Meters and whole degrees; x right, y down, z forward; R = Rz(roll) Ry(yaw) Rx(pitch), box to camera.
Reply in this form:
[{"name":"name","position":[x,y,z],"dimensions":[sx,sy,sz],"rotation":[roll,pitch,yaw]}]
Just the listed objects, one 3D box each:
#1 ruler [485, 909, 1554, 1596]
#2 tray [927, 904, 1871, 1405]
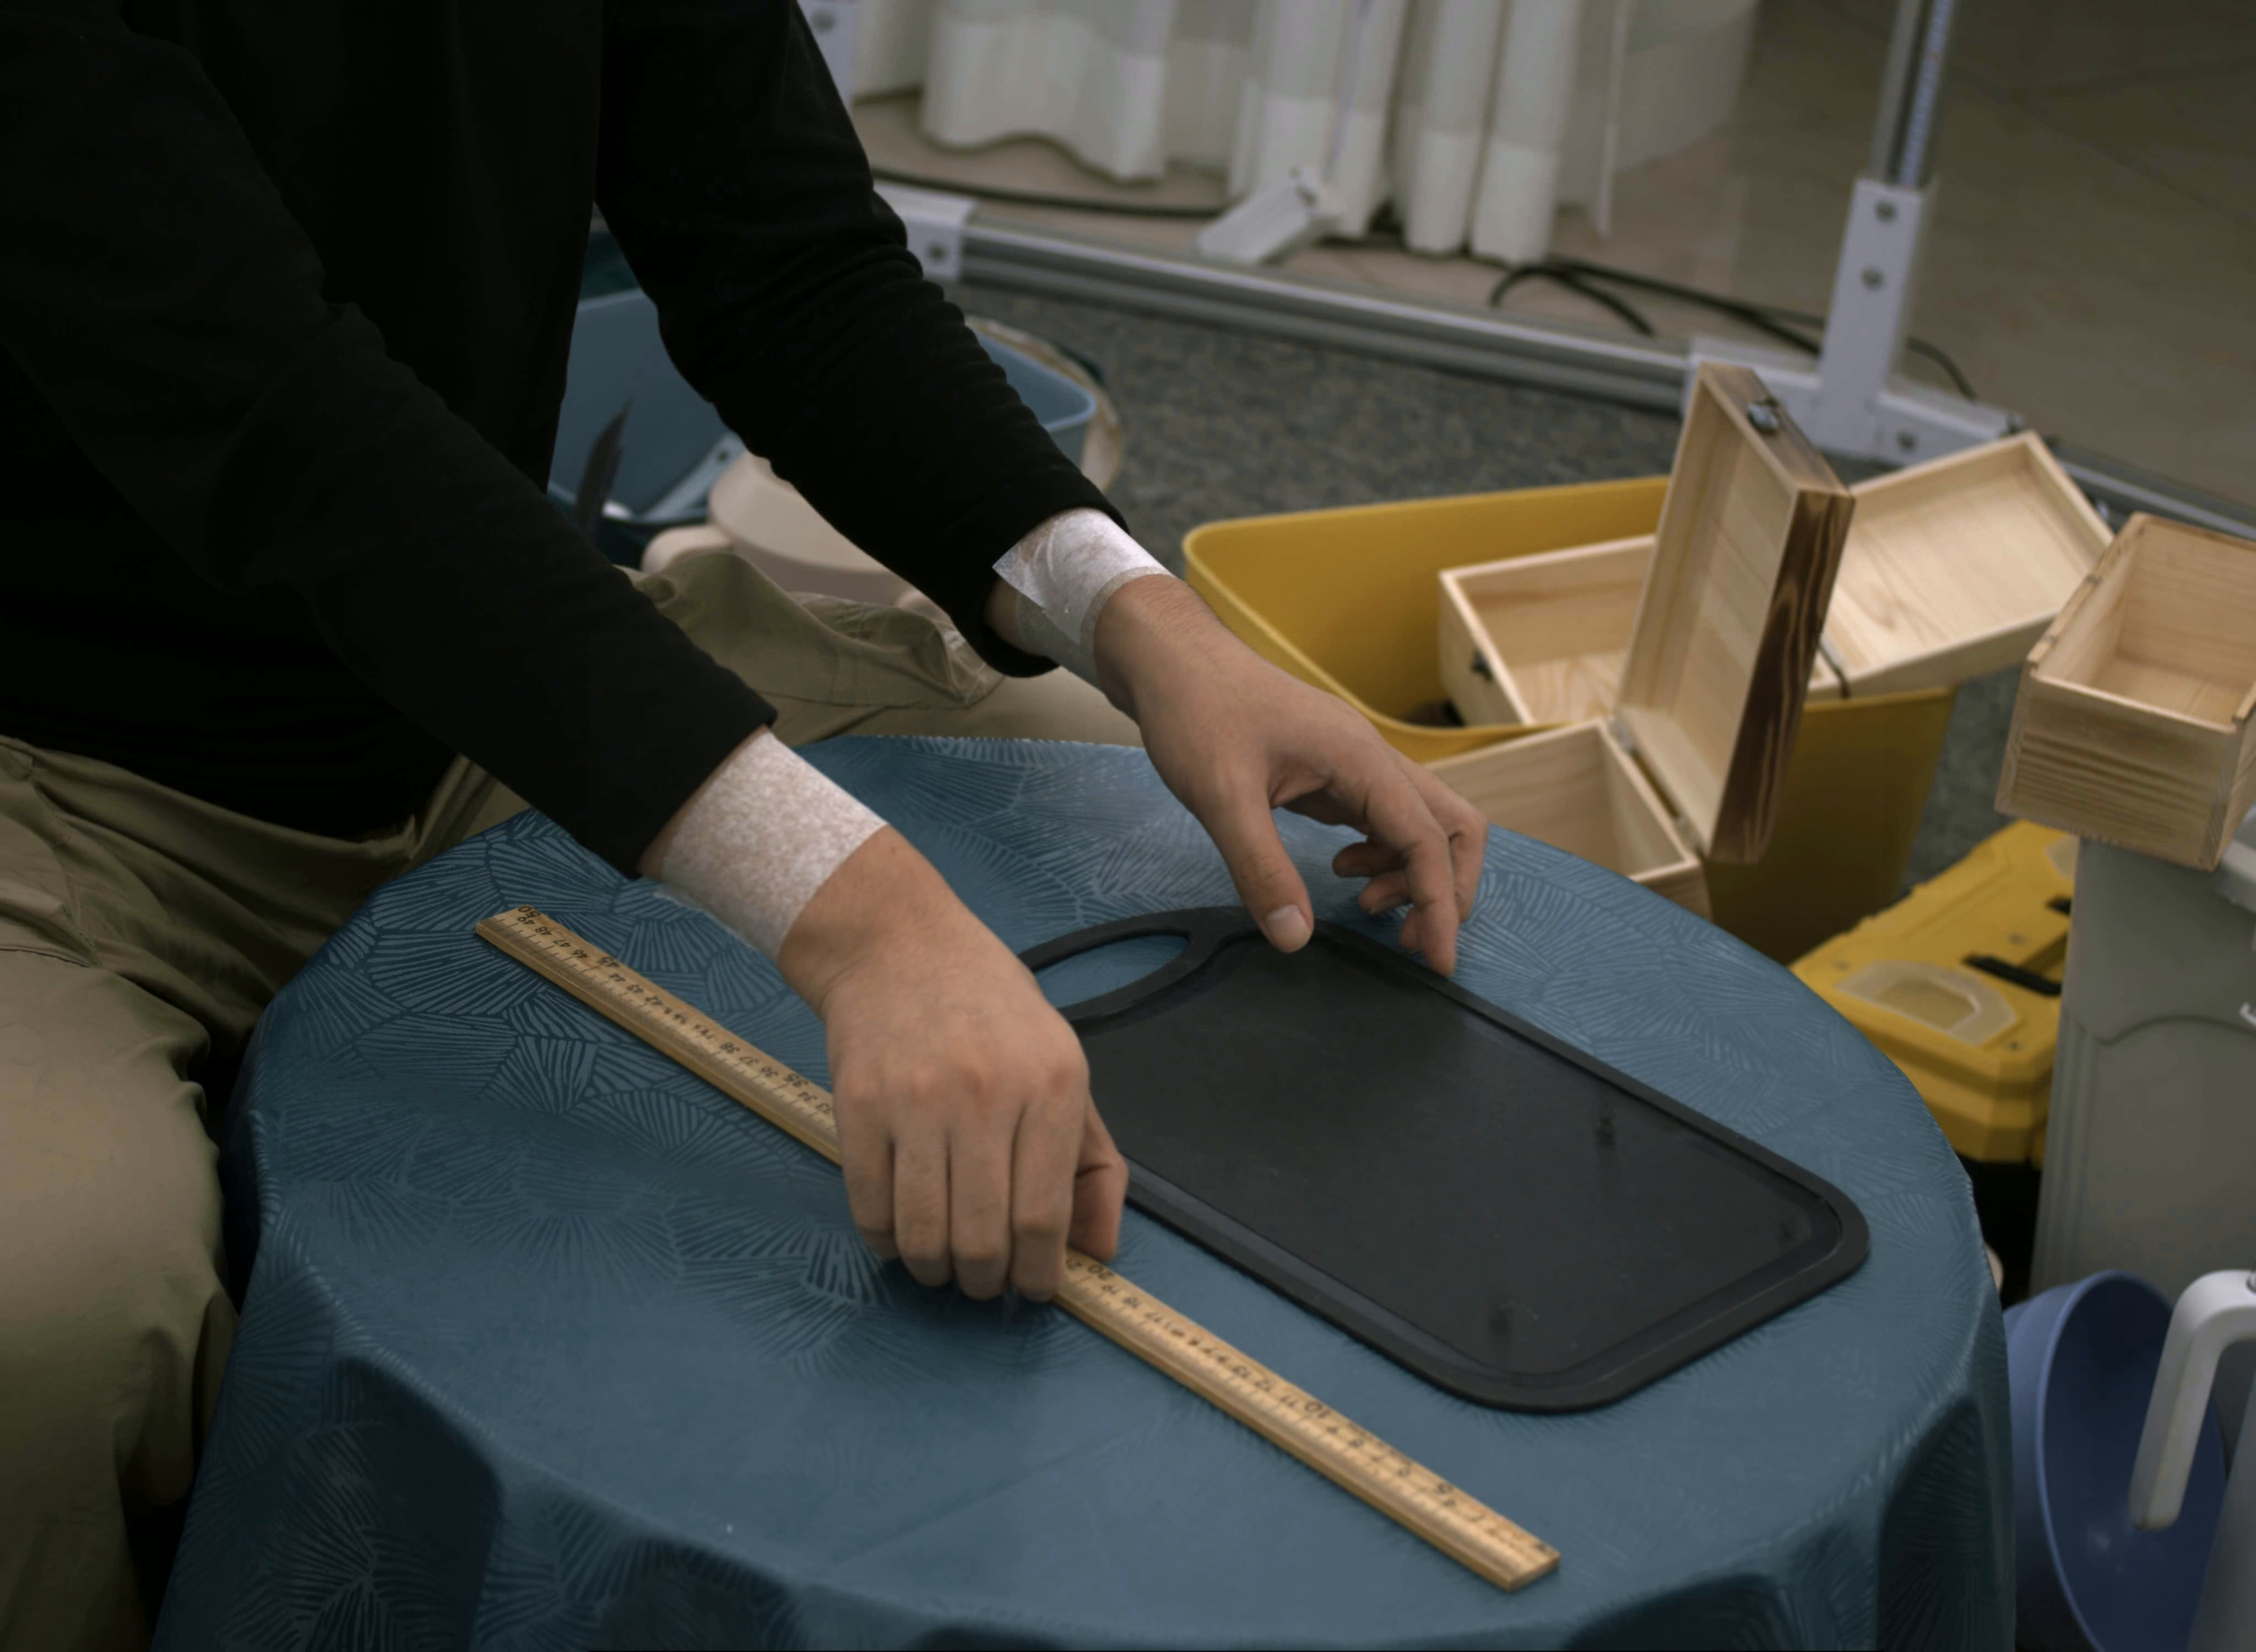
[{"name":"ruler","position":[-0.050,0.131,1.770],"dimensions":[0.026,0.006,0.504],"rotation":[-17,35,-42]},{"name":"tray","position":[0.085,0.104,1.850],"dimensions":[0.210,0.010,0.328],"rotation":[-20,37,-42]}]
